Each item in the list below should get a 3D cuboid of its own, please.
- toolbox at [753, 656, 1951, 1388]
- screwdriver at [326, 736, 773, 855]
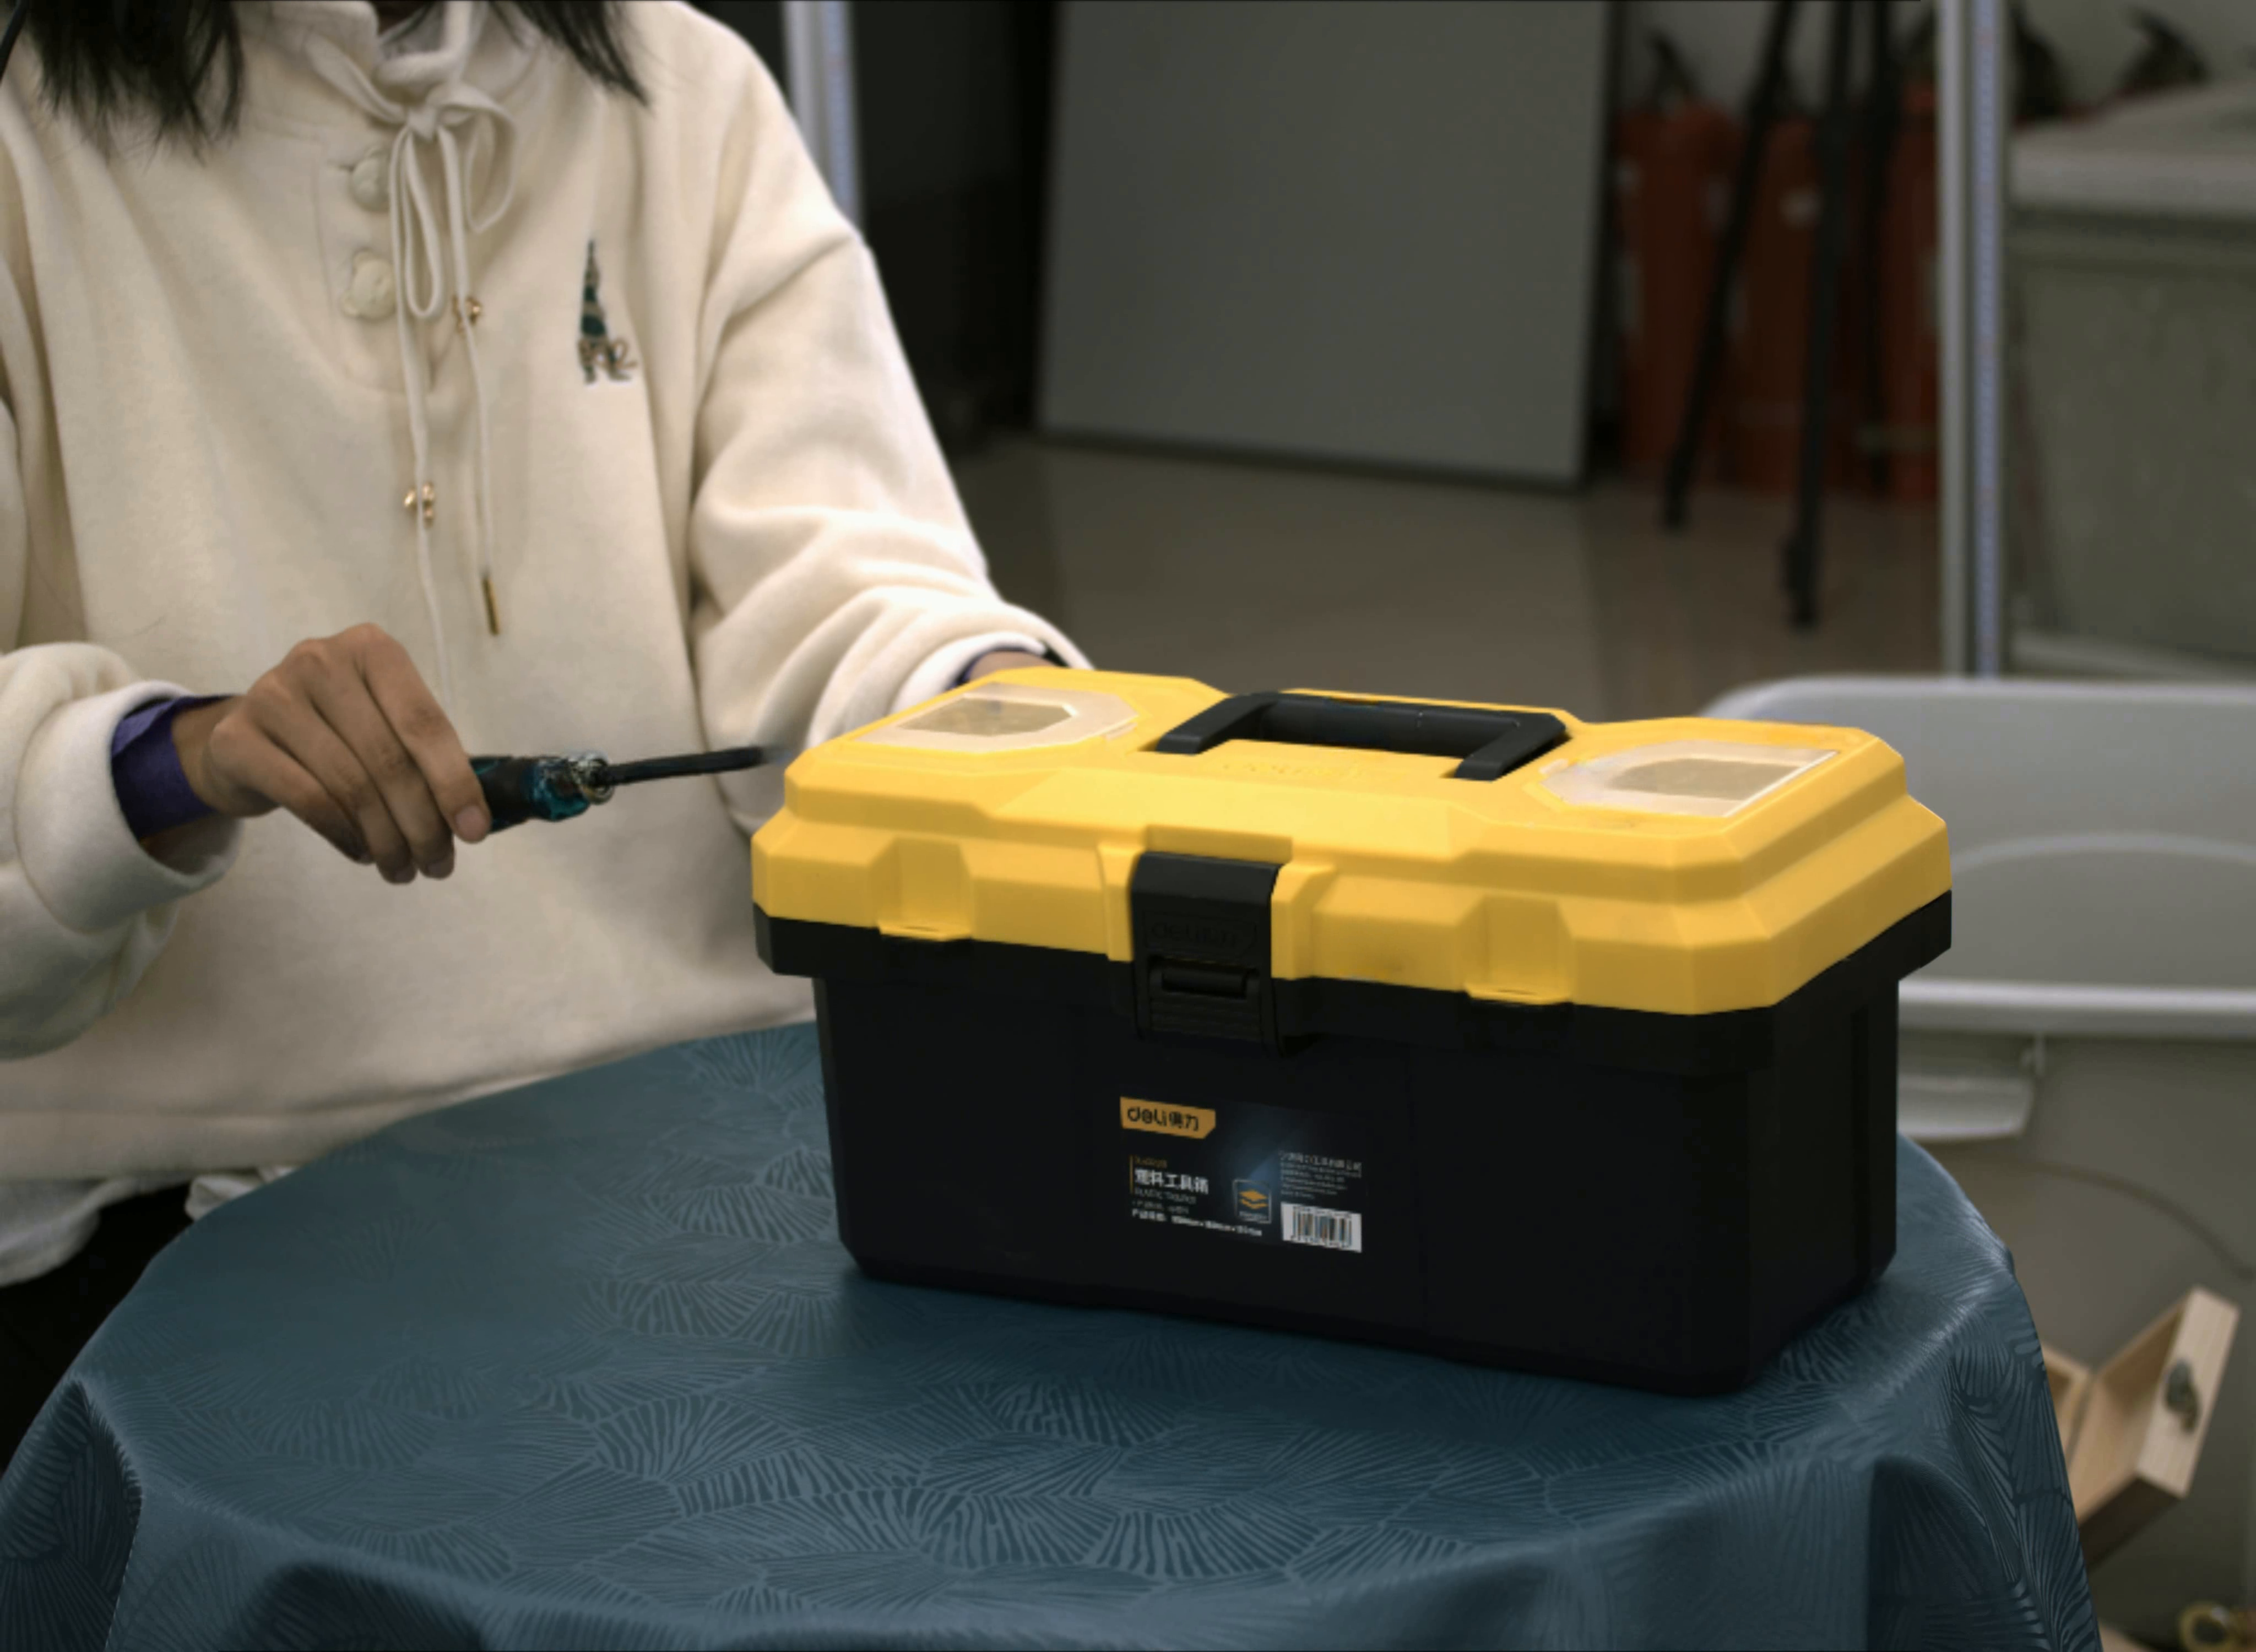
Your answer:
[{"bbox_3d":[0.066,0.055,1.653,0.353,0.175,0.178,5,16,32],"label":"toolbox"},{"bbox_3d":[-0.187,-0.014,1.758,0.191,0.034,0.033,-8,8,37],"label":"screwdriver"}]
